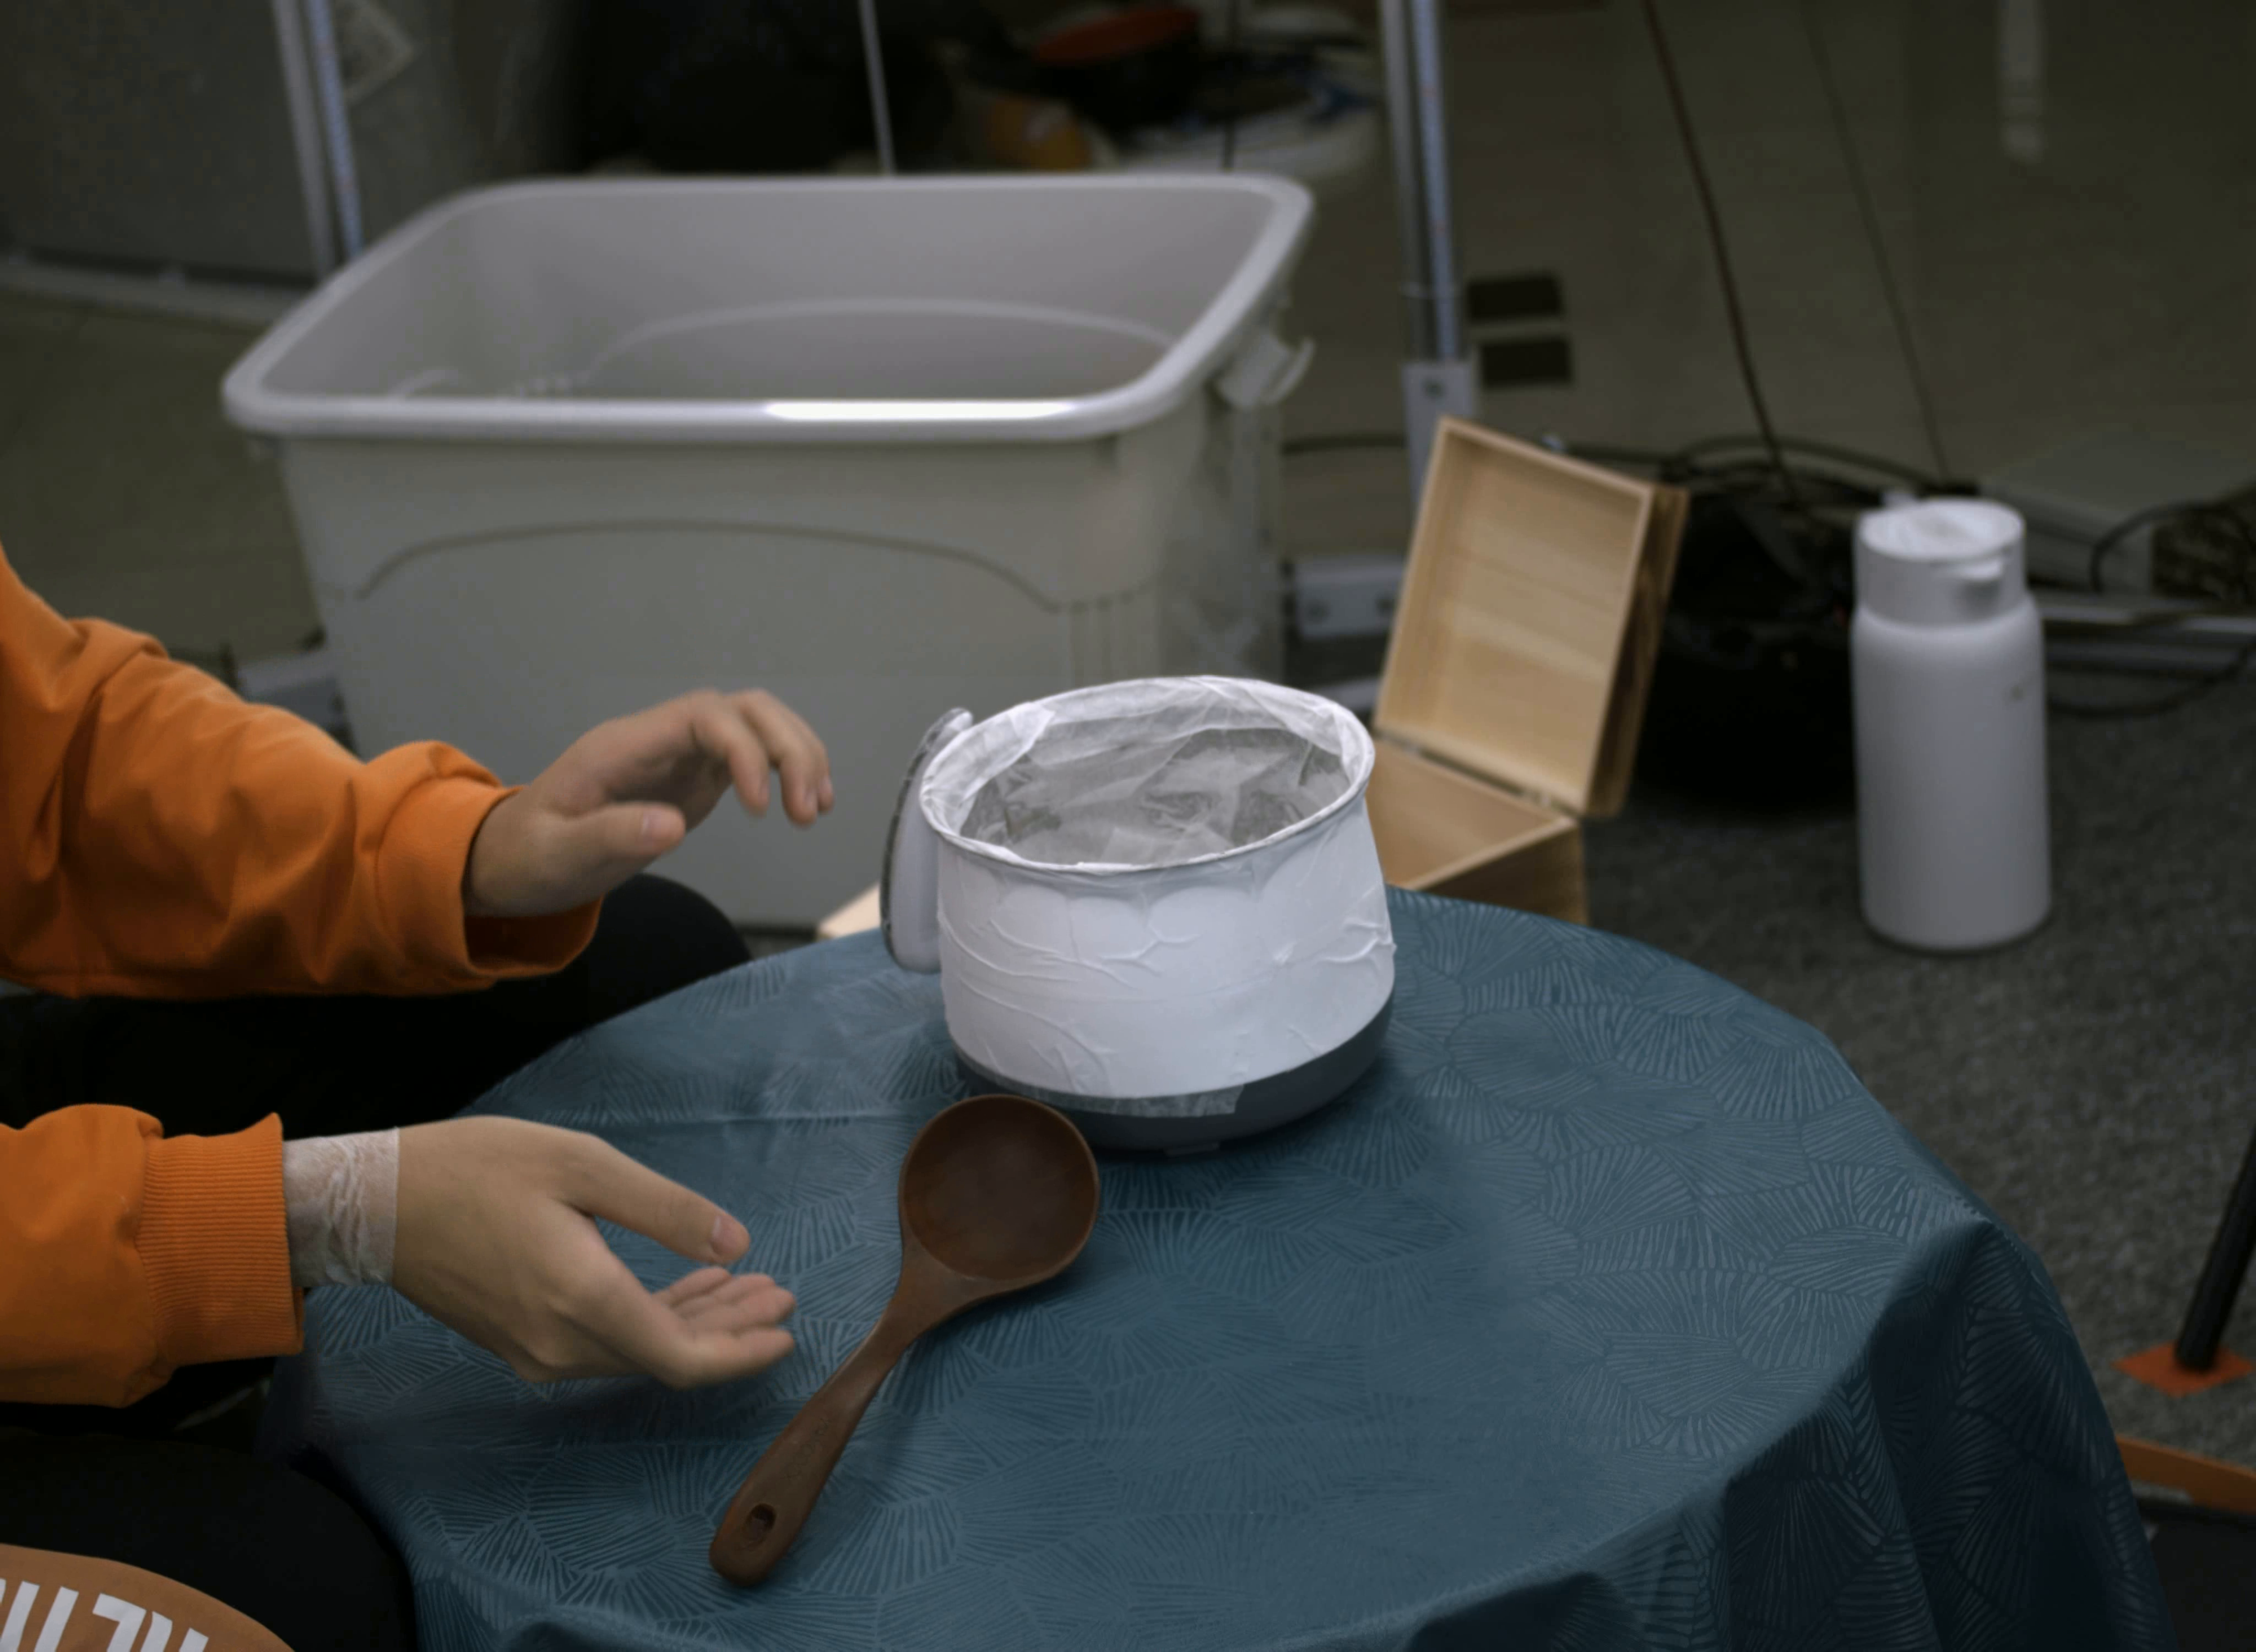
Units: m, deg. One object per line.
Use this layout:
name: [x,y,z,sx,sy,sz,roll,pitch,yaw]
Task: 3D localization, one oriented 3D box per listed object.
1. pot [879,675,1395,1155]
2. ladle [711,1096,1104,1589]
pot: [-0.008,0.030,2.217,0.232,0.139,0.177,15,32,37]
ladle: [-0.081,0.179,2.010,0.076,0.066,0.257,27,32,9]
